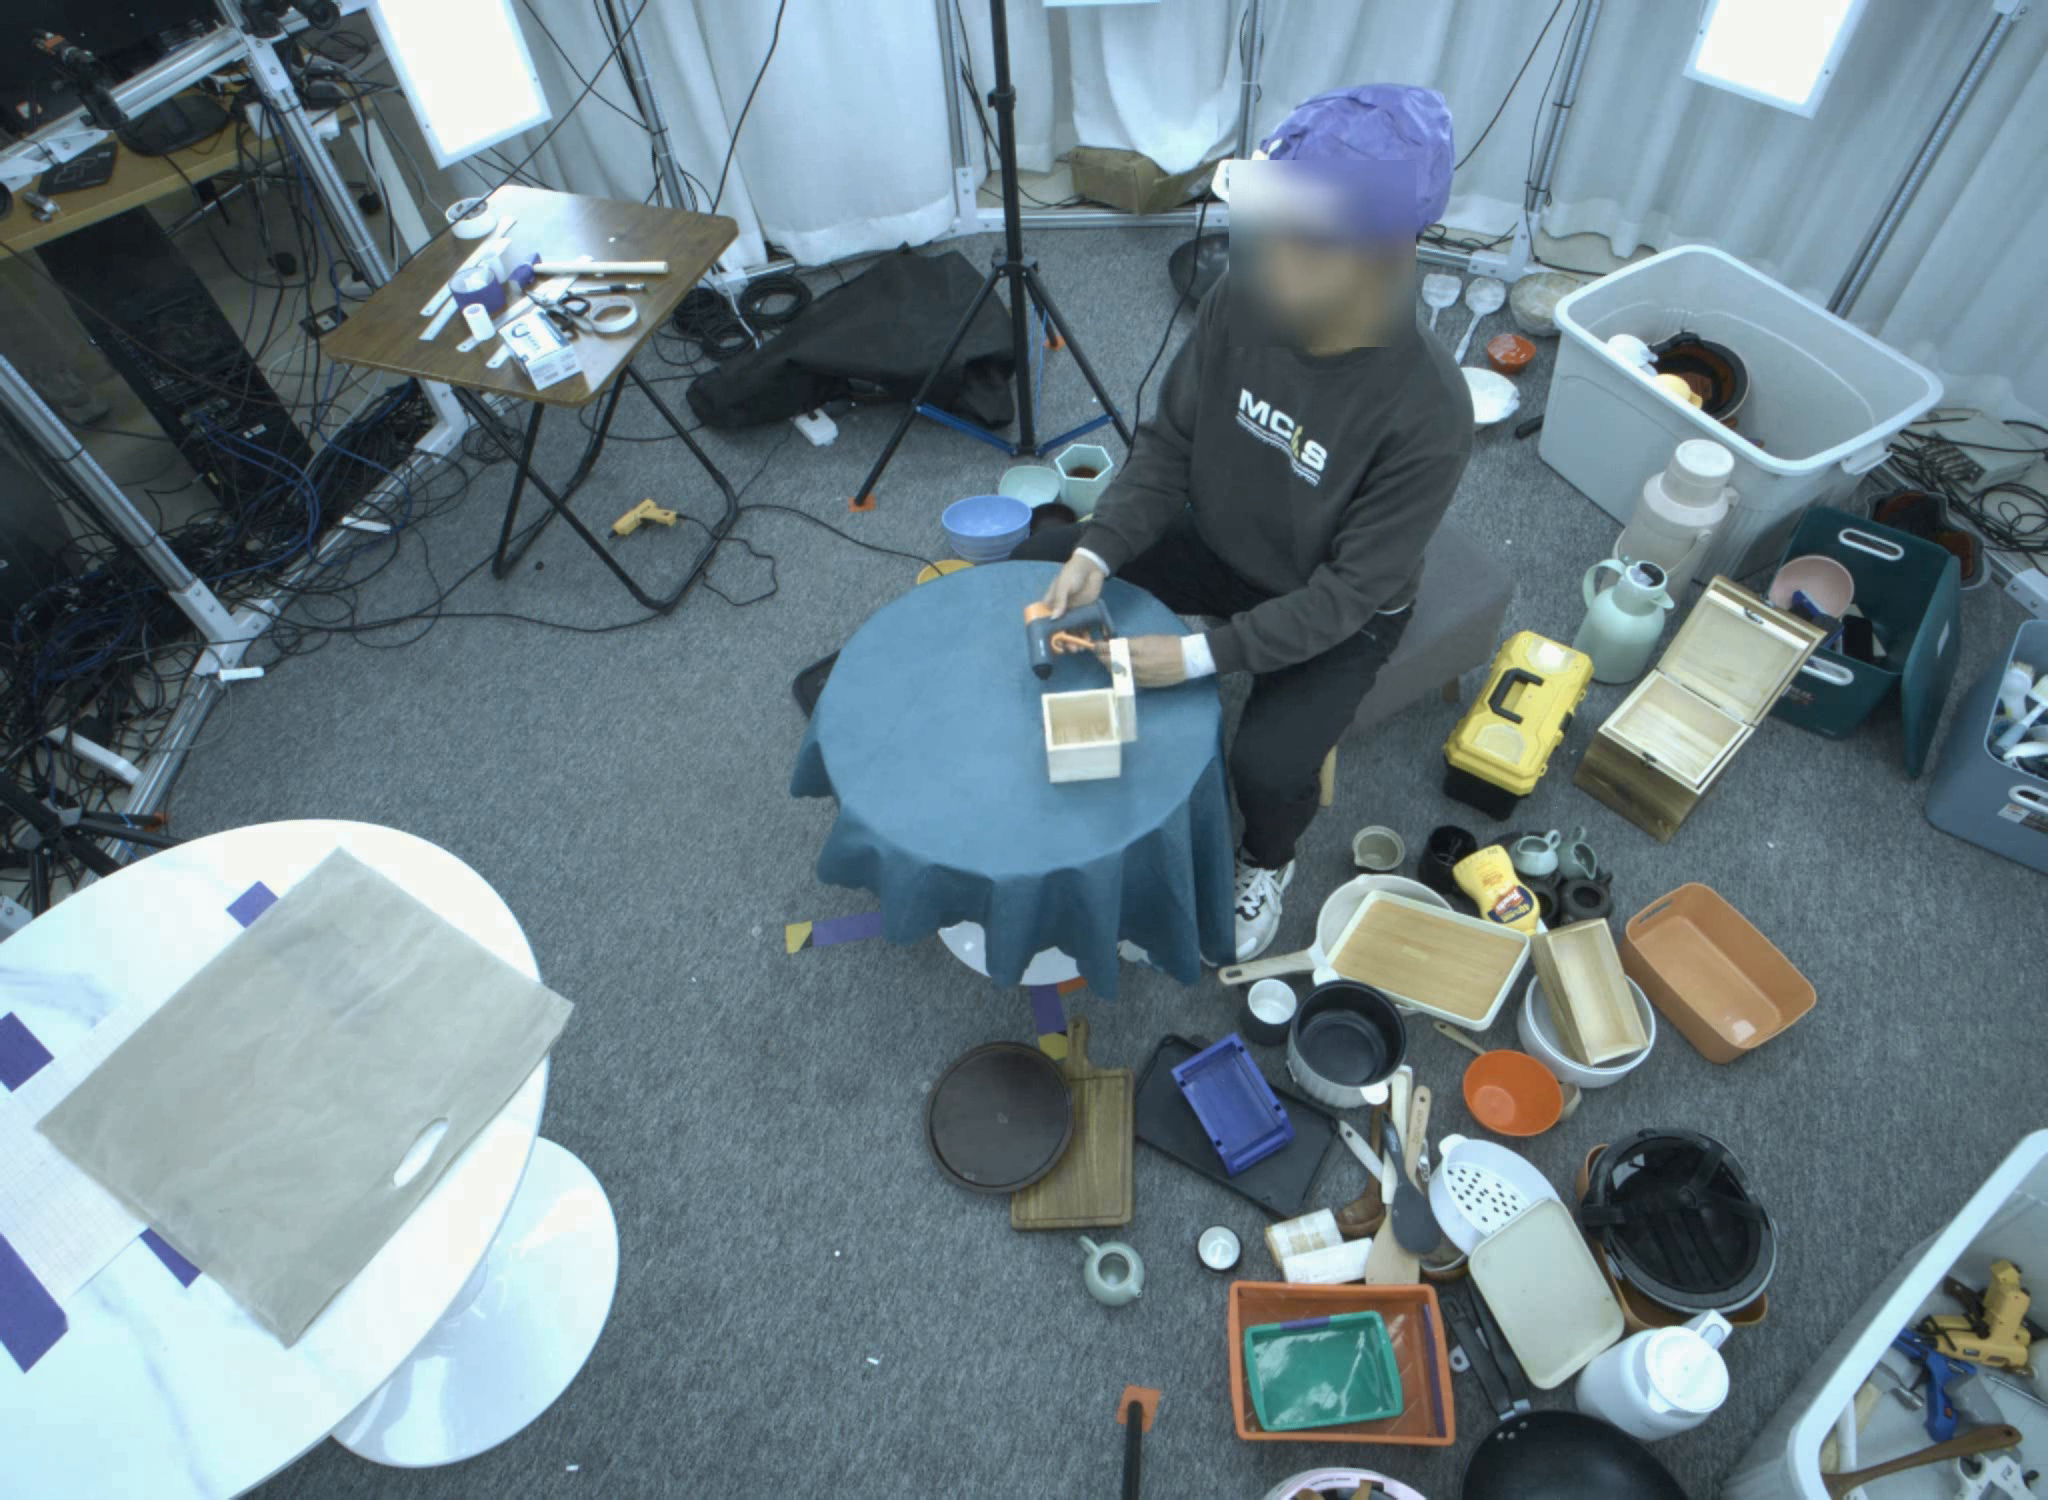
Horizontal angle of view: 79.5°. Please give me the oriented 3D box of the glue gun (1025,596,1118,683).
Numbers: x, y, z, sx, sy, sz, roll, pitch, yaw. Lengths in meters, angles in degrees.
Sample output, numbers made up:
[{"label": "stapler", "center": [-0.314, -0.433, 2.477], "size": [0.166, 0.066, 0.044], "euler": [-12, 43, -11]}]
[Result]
[{"label": "glue gun", "center": [0.065, -0.170, 1.829], "size": [0.141, 0.041, 0.117], "euler": [-19, 78, -18]}]

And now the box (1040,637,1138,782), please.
[{"label": "box", "center": [0.087, -0.054, 1.706], "size": [0.134, 0.186, 0.101], "euler": [-8, 55, -1]}]
